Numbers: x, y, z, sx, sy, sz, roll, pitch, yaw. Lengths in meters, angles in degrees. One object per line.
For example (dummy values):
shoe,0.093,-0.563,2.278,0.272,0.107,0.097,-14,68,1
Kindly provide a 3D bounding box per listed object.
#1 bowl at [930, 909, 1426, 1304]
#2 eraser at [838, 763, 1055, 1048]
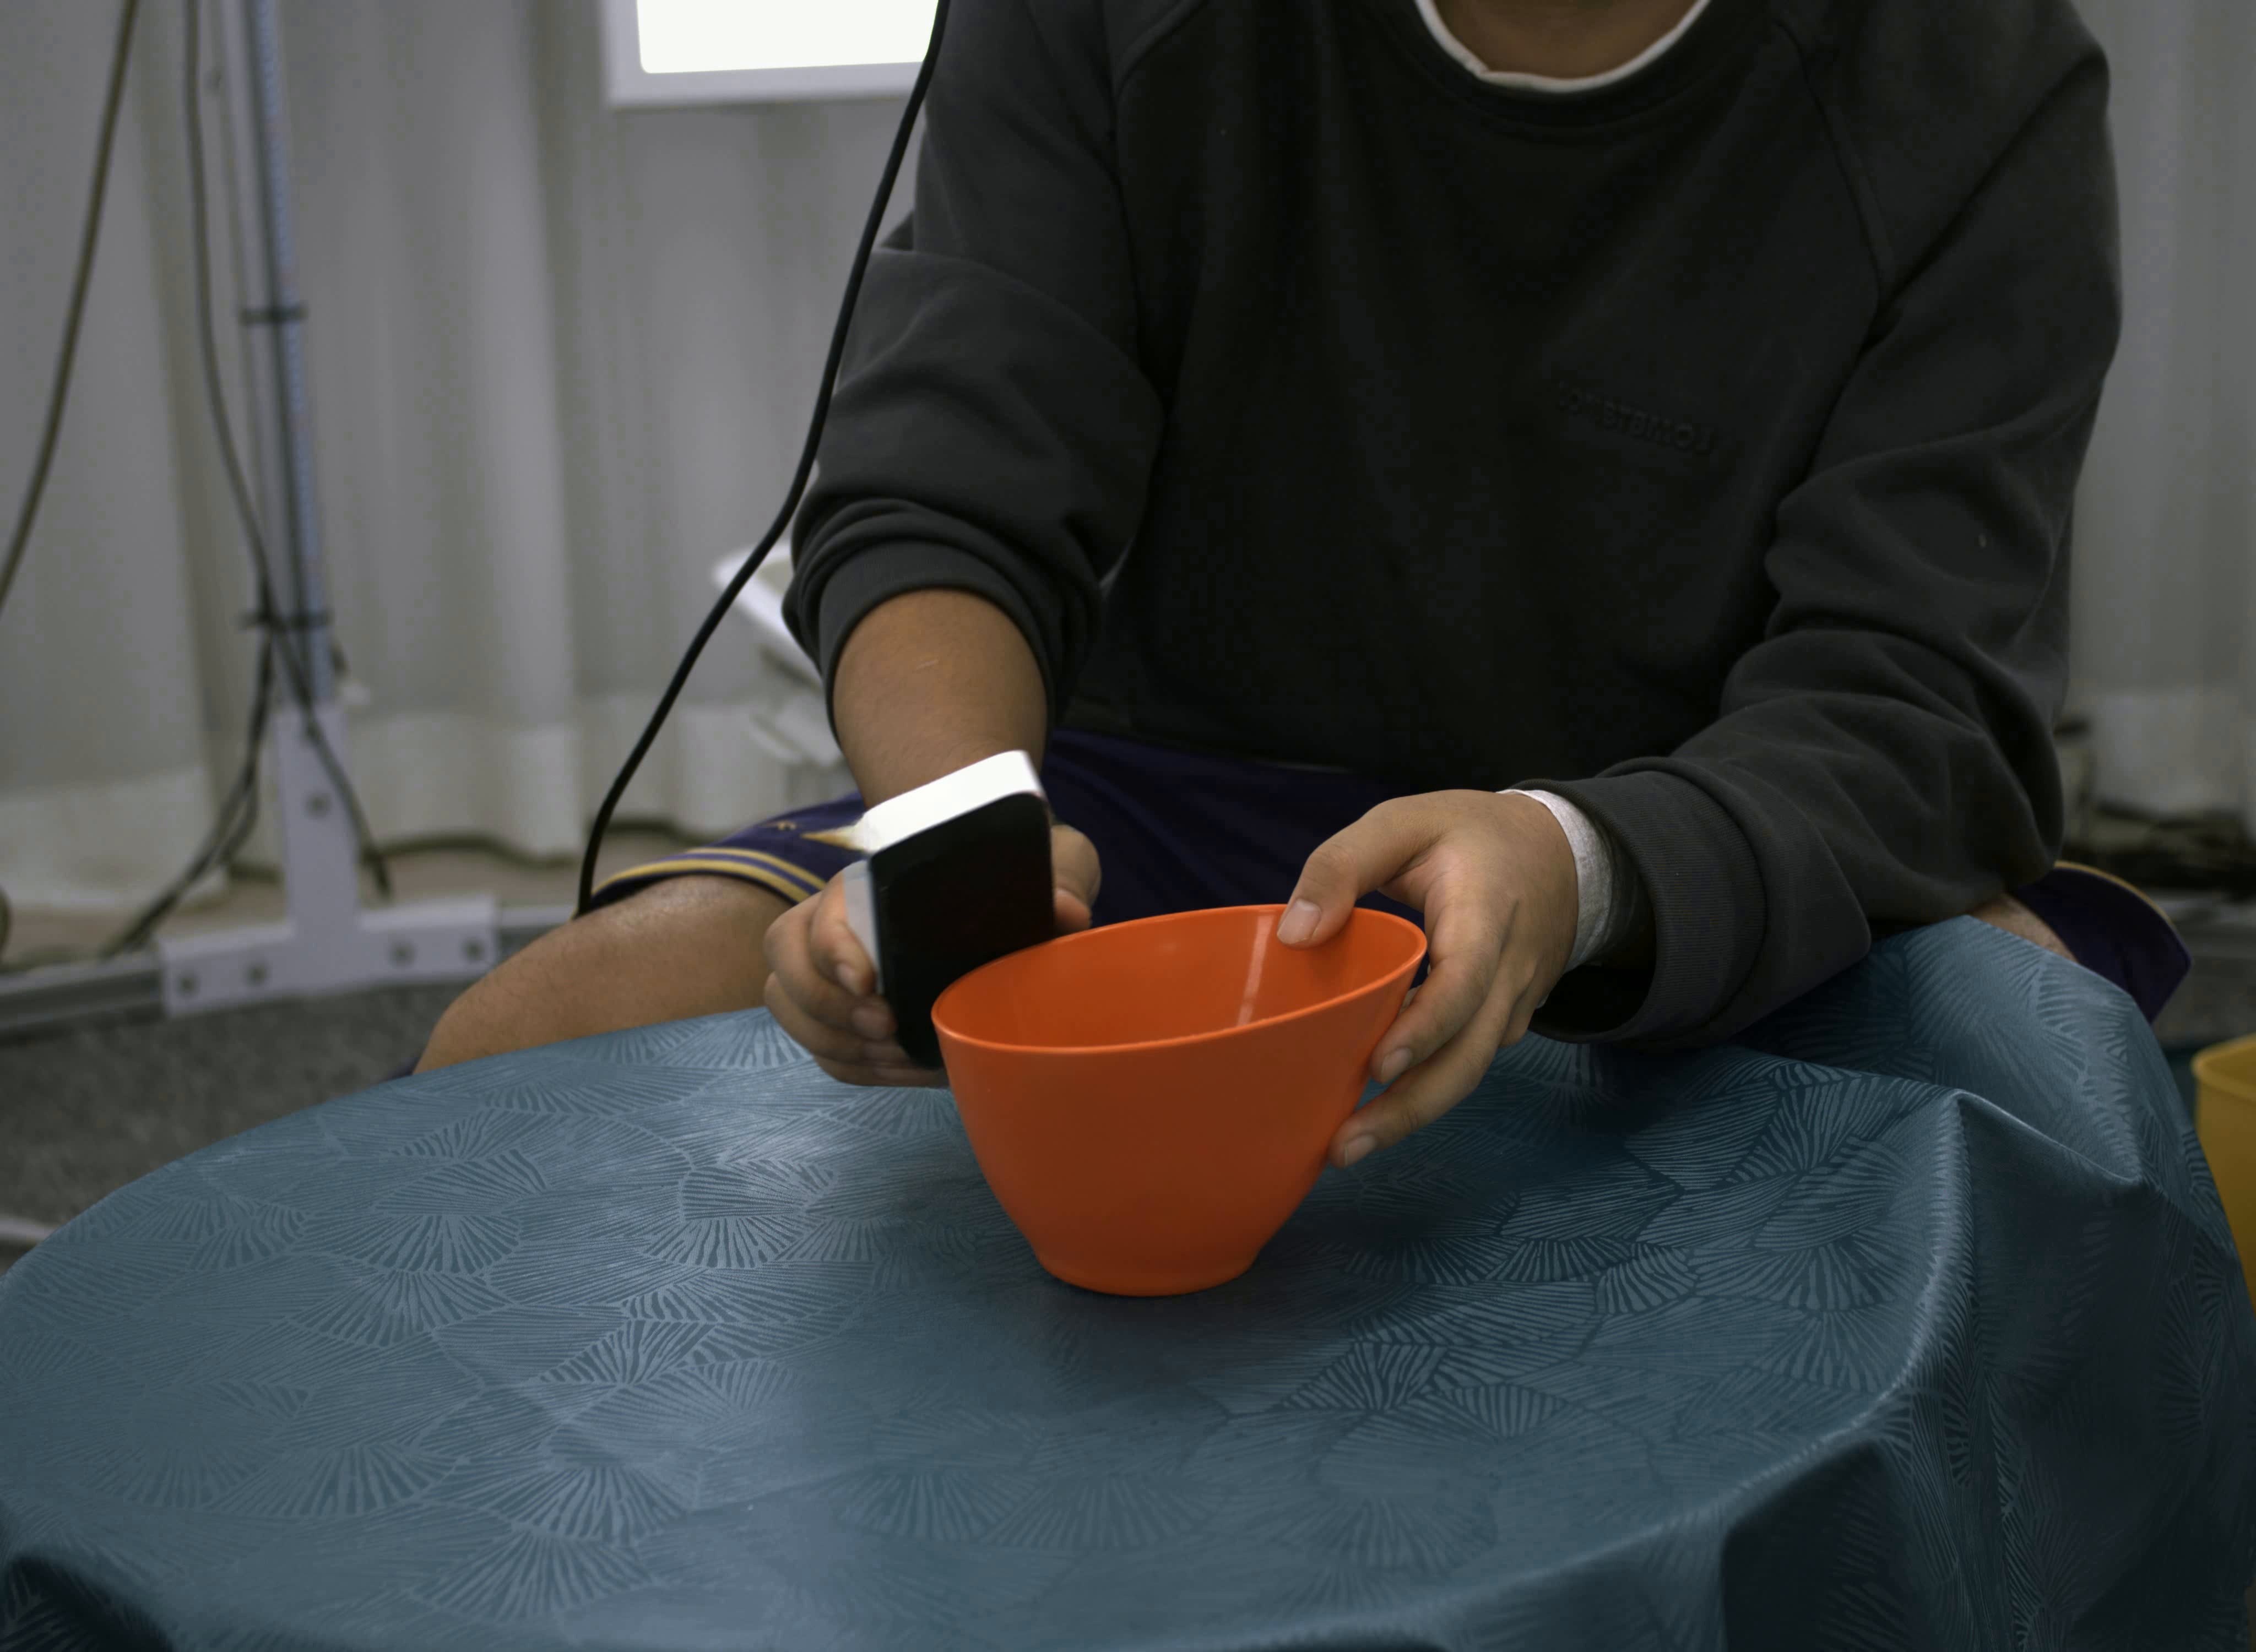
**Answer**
bowl,0.015,0.084,1.629,0.147,0.104,0.149,-1,17,0
eraser,-0.053,0.023,1.665,0.063,0.035,0.130,-23,-24,-9
